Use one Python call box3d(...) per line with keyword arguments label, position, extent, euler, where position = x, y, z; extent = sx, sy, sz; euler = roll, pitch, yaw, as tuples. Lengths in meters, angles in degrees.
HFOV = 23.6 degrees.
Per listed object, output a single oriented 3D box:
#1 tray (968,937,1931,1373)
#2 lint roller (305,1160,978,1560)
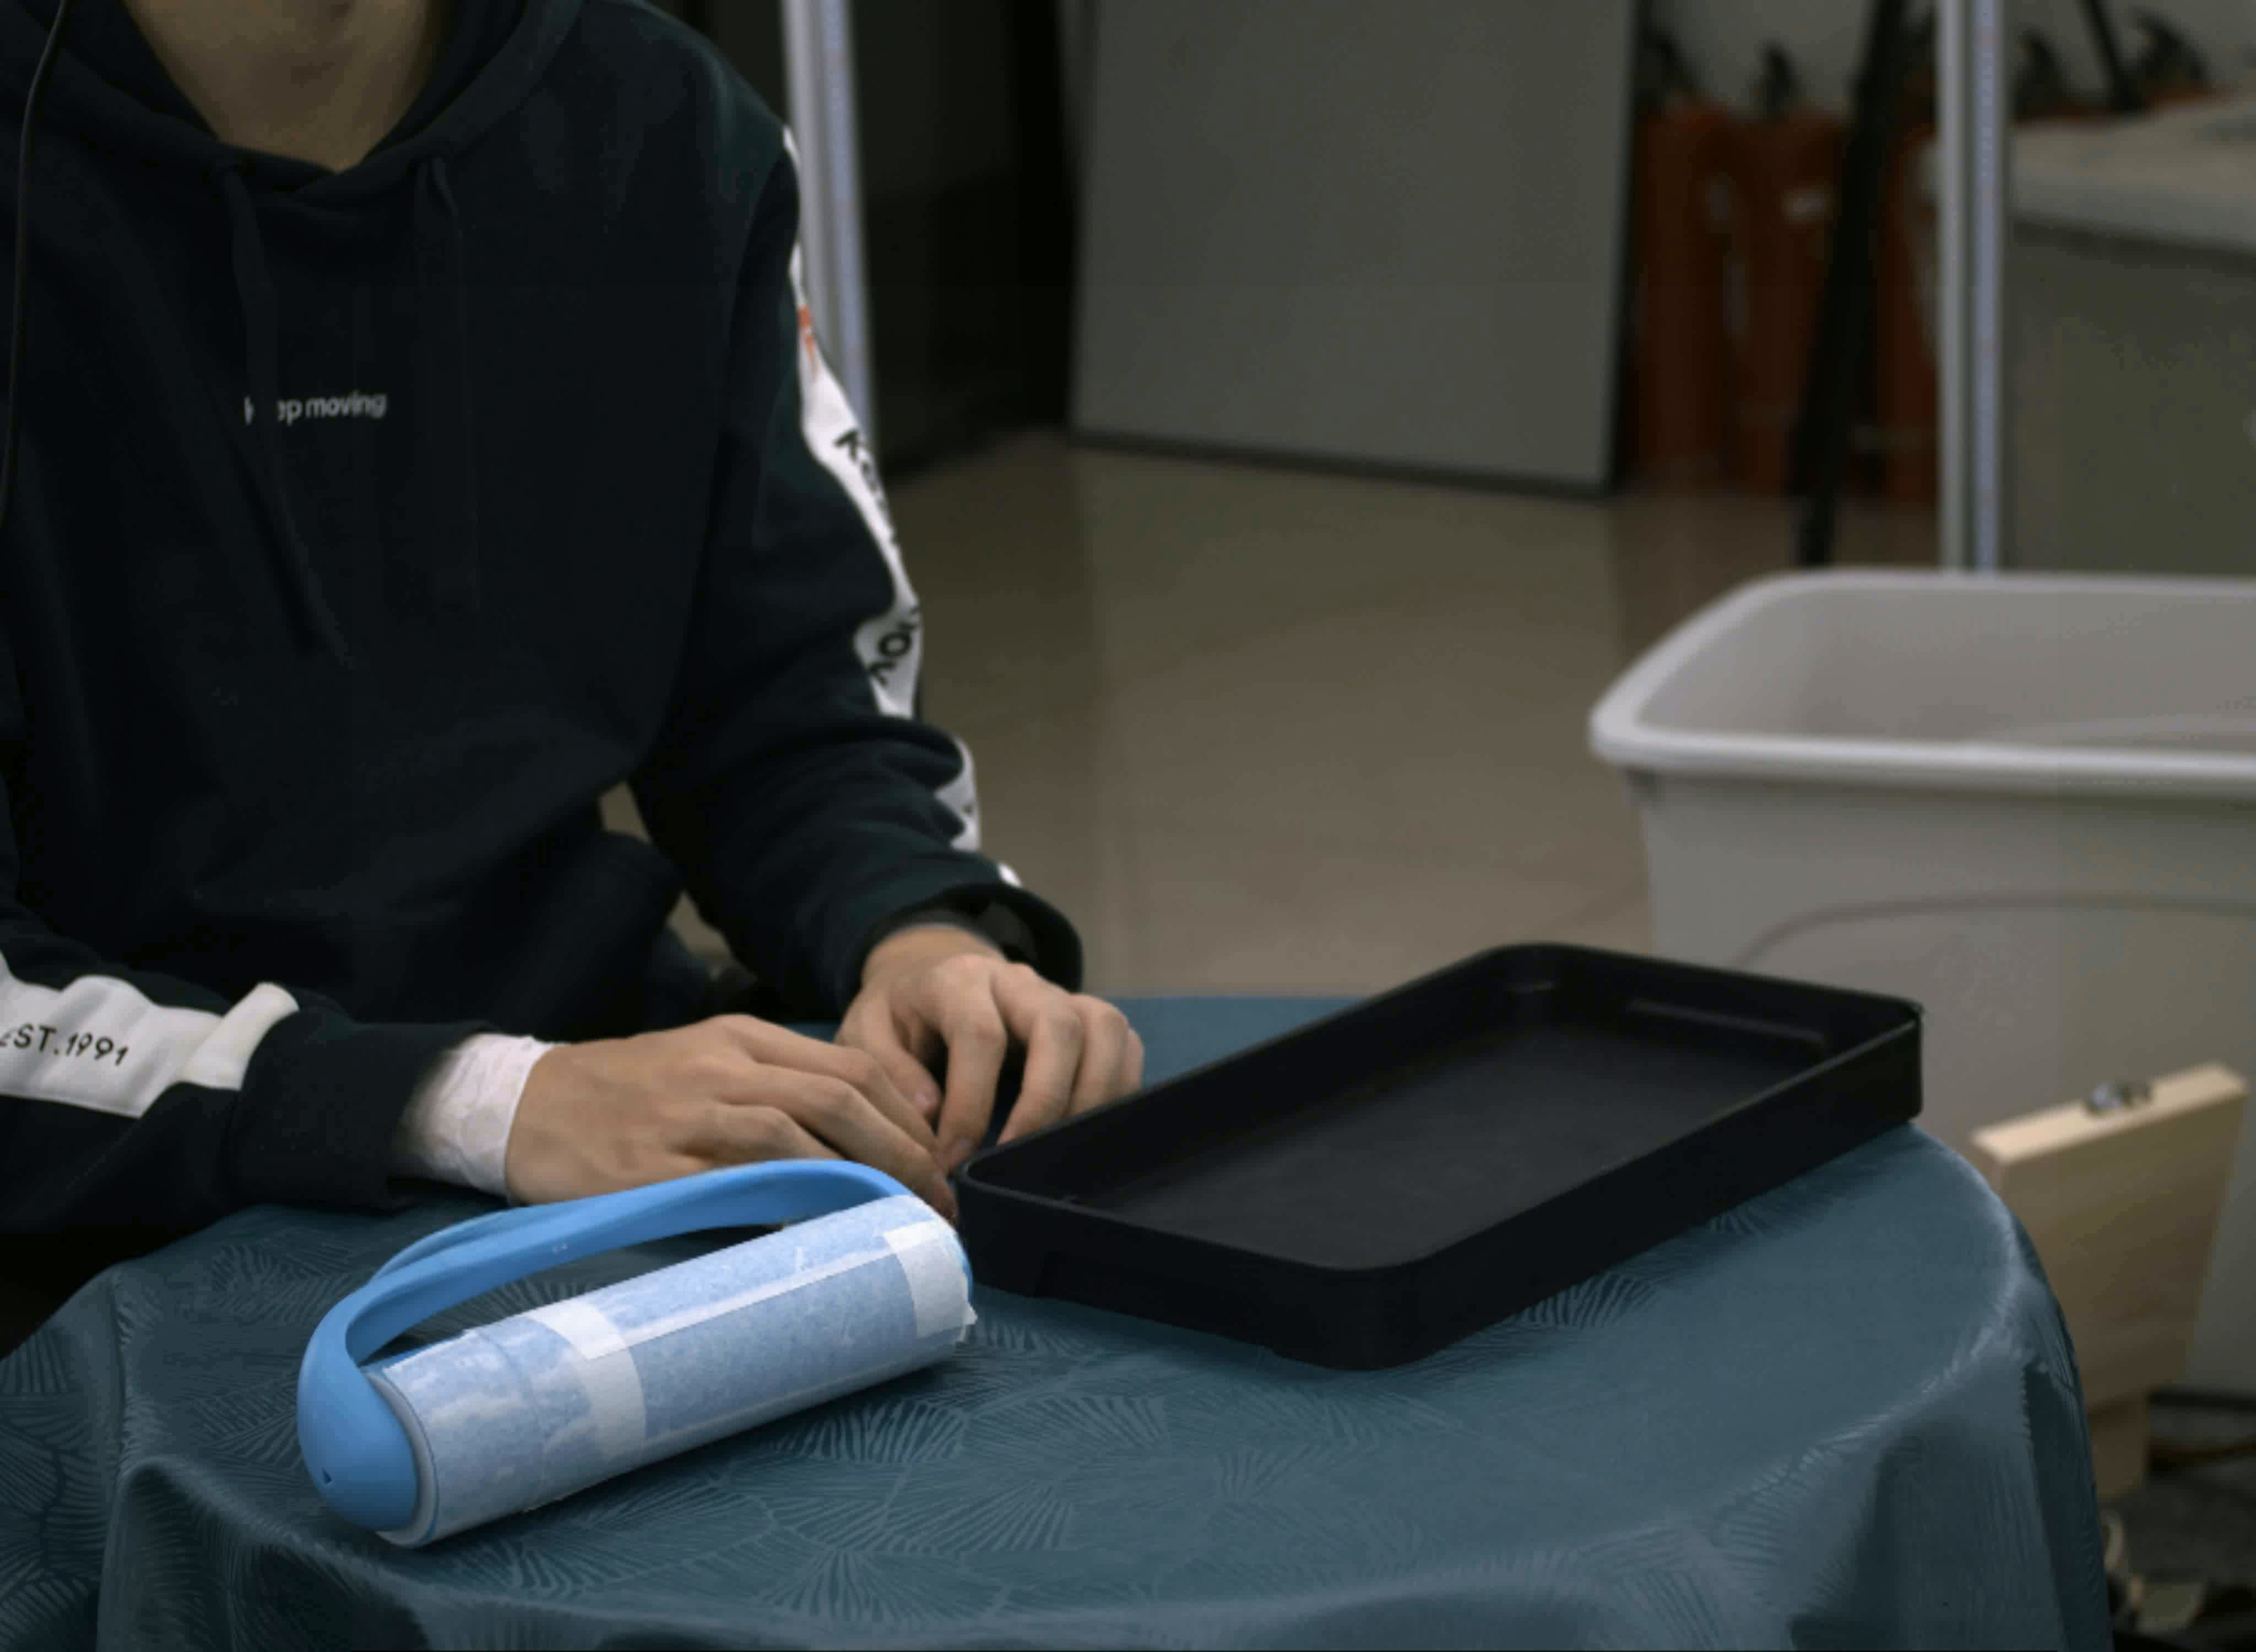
box3d(label="tray", position=(0.110, 0.101, 1.749), extent=(0.186, 0.037, 0.312), euler=(7, 19, 40))
box3d(label="lint roller", position=(-0.175, 0.147, 1.602), extent=(0.224, 0.068, 0.182), euler=(-19, 21, -40))
